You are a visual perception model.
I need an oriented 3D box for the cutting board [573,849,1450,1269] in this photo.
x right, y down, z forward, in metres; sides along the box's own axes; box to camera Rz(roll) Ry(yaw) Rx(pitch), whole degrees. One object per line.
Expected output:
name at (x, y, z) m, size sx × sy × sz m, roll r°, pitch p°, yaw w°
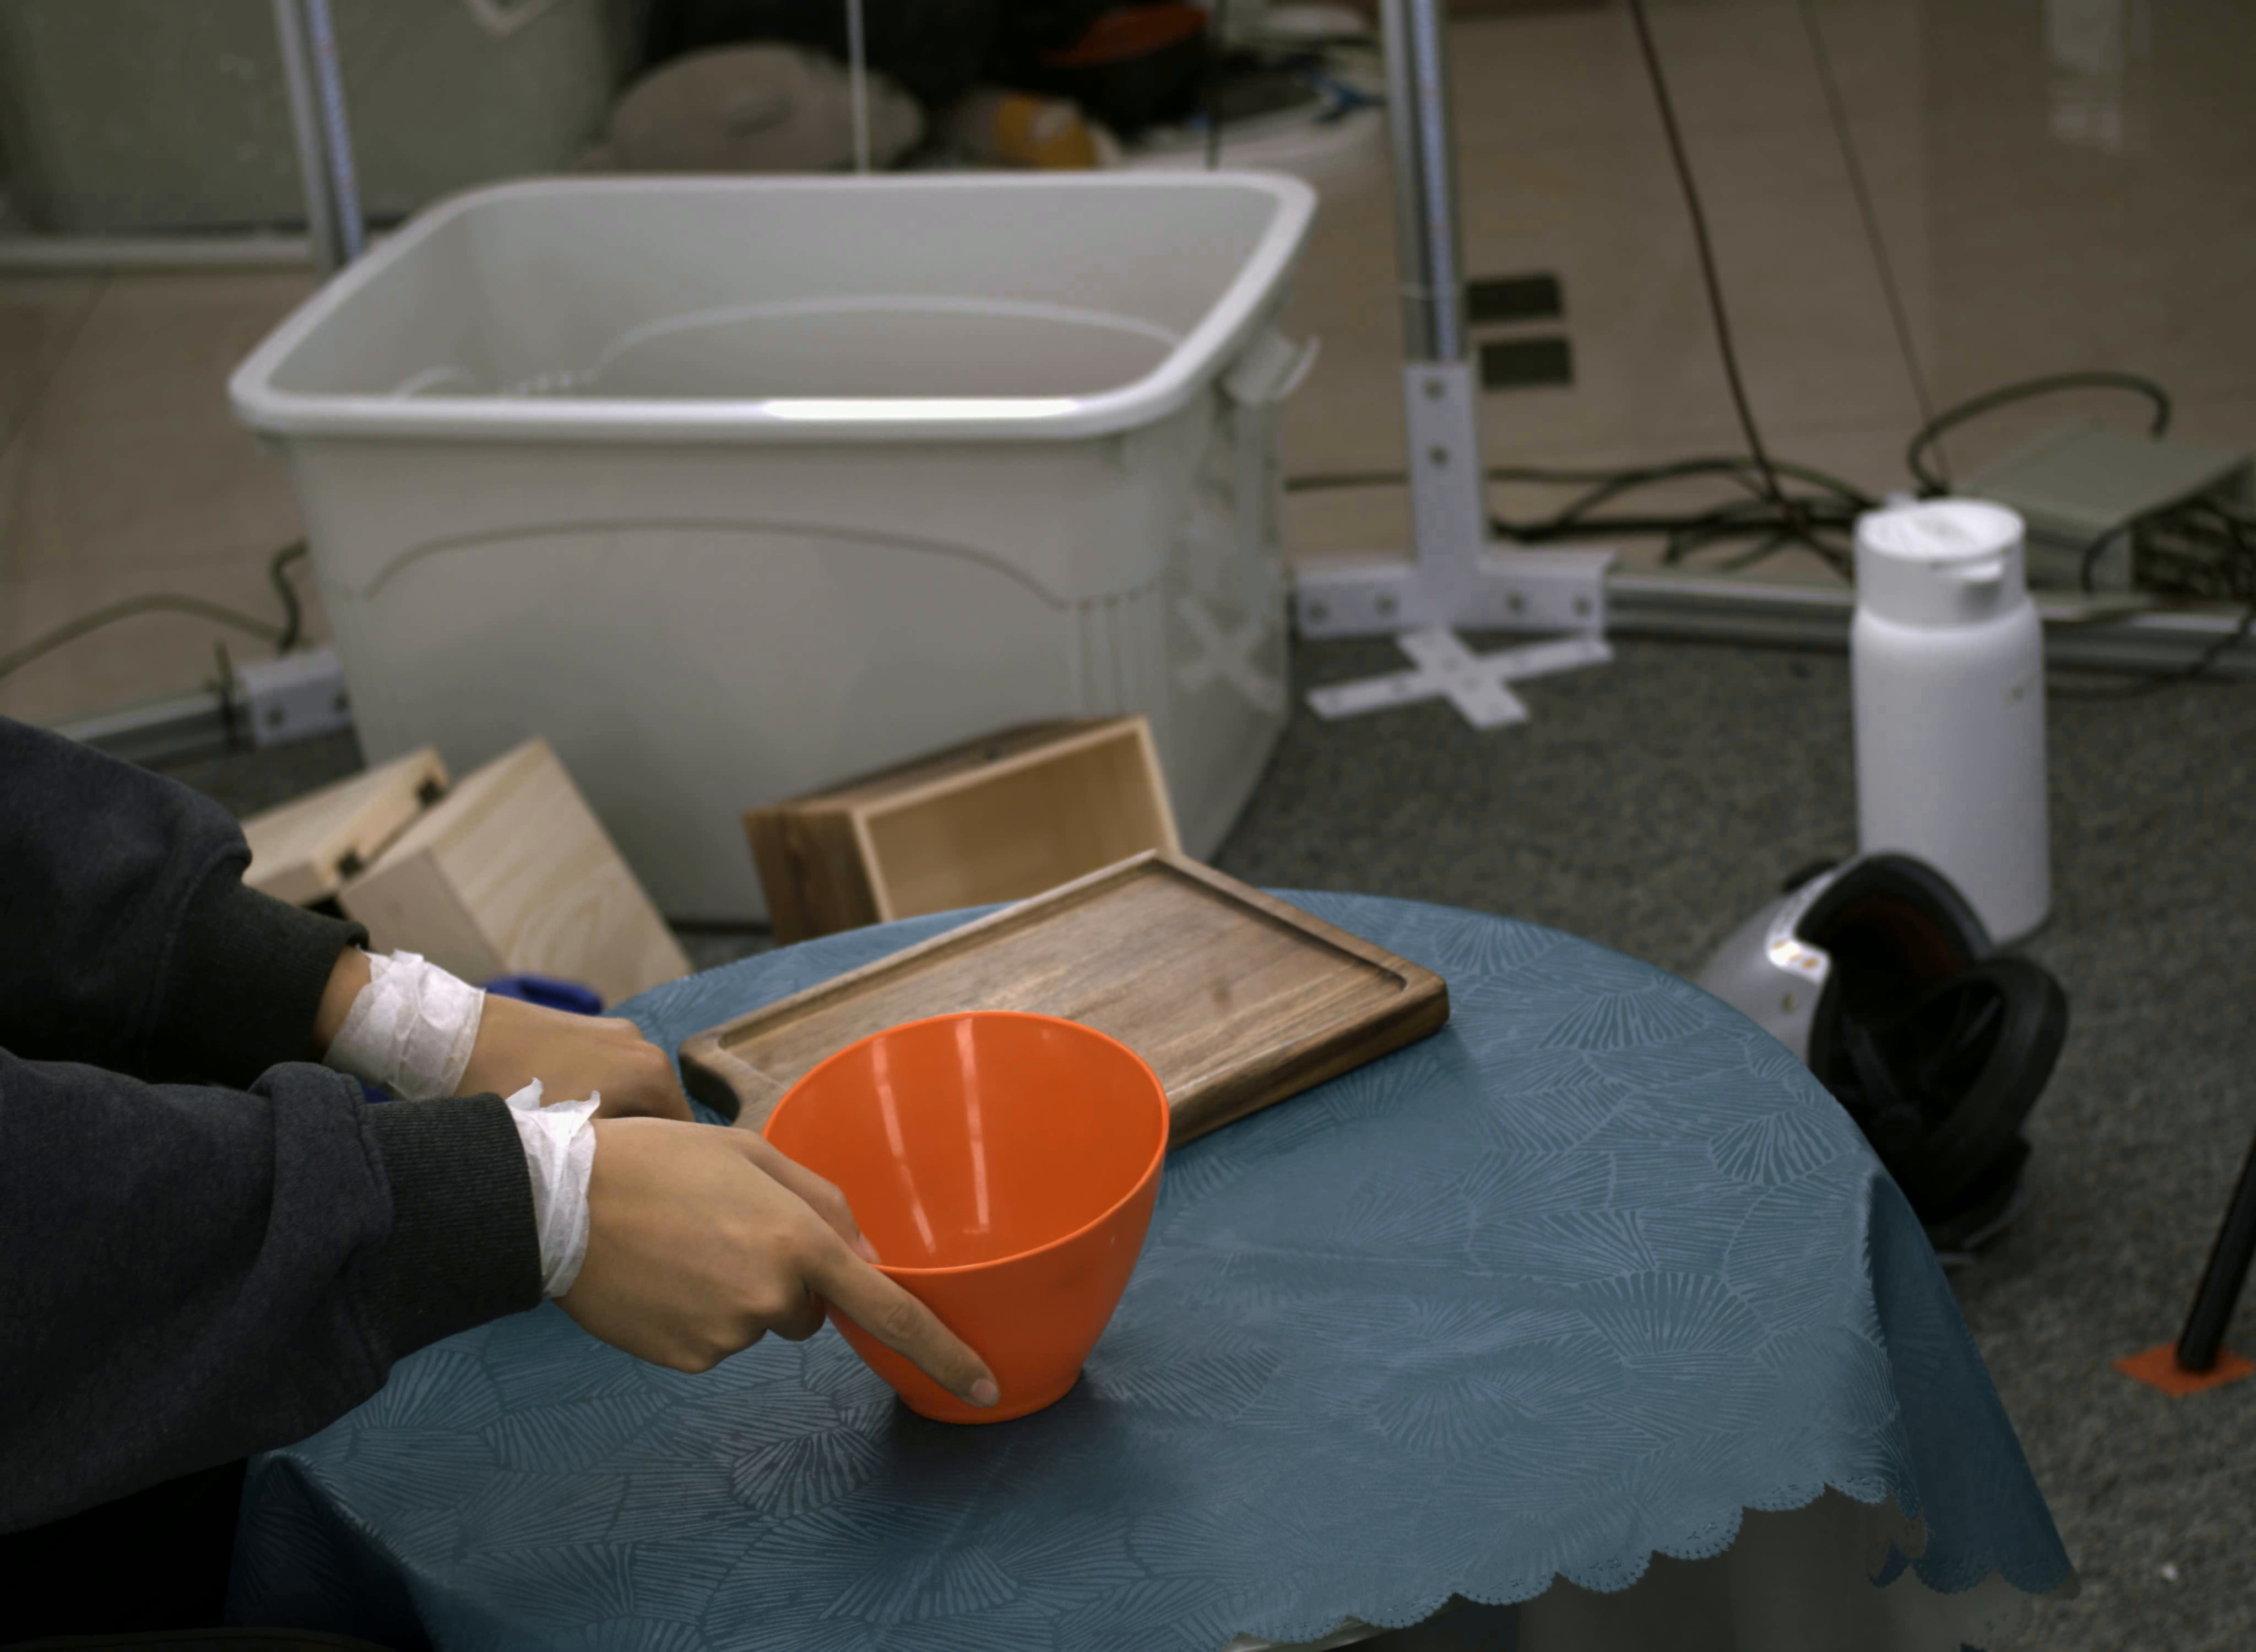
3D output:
cutting board at (-0.067, 0.098, 2.226) m, size 0.350 × 0.023 × 0.199 m, roll -22°, pitch 29°, yaw -30°

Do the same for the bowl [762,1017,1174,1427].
bowl at (-0.053, 0.147, 2.021) m, size 0.148 × 0.106 × 0.146 m, roll -5°, pitch 25°, yaw 2°
